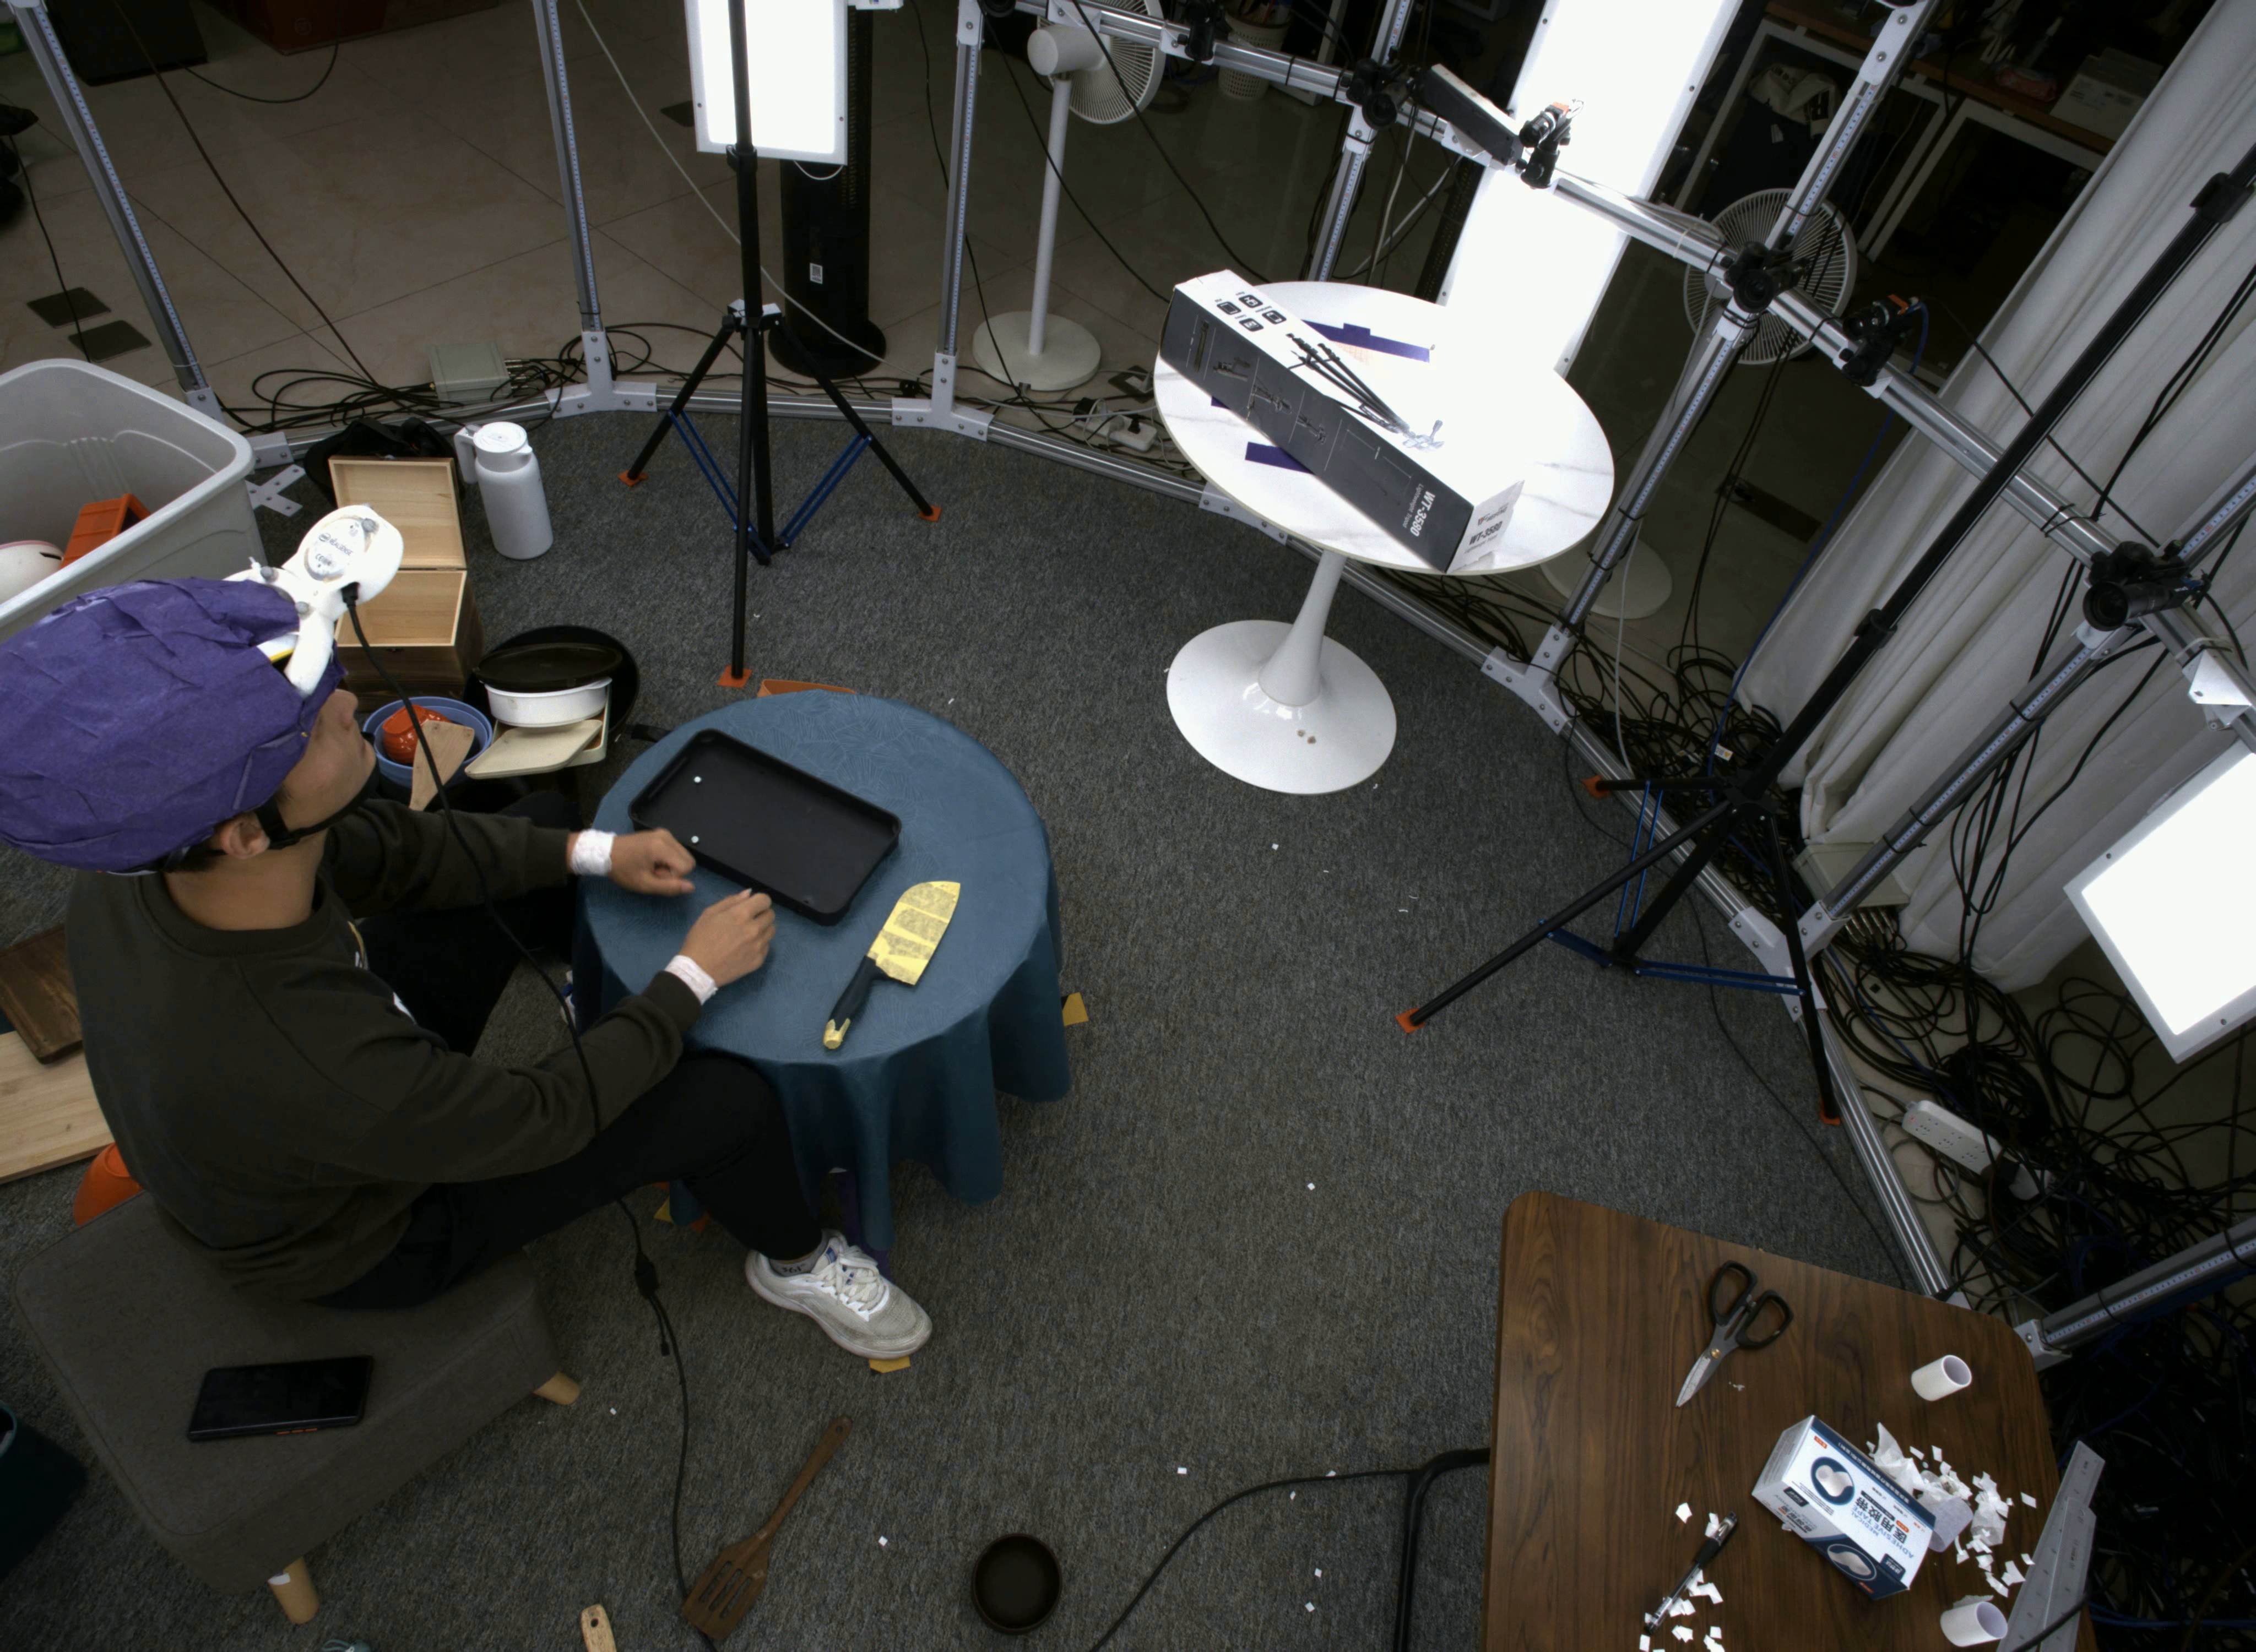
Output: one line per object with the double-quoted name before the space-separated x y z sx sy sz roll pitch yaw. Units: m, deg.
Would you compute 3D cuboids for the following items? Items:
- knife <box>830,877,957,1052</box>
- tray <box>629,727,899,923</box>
"knife" -0.291 0.167 1.636 0.080 0.028 0.287 23 51 5
"tray" -0.477 -0.005 1.702 0.314 0.038 0.183 24 53 4
